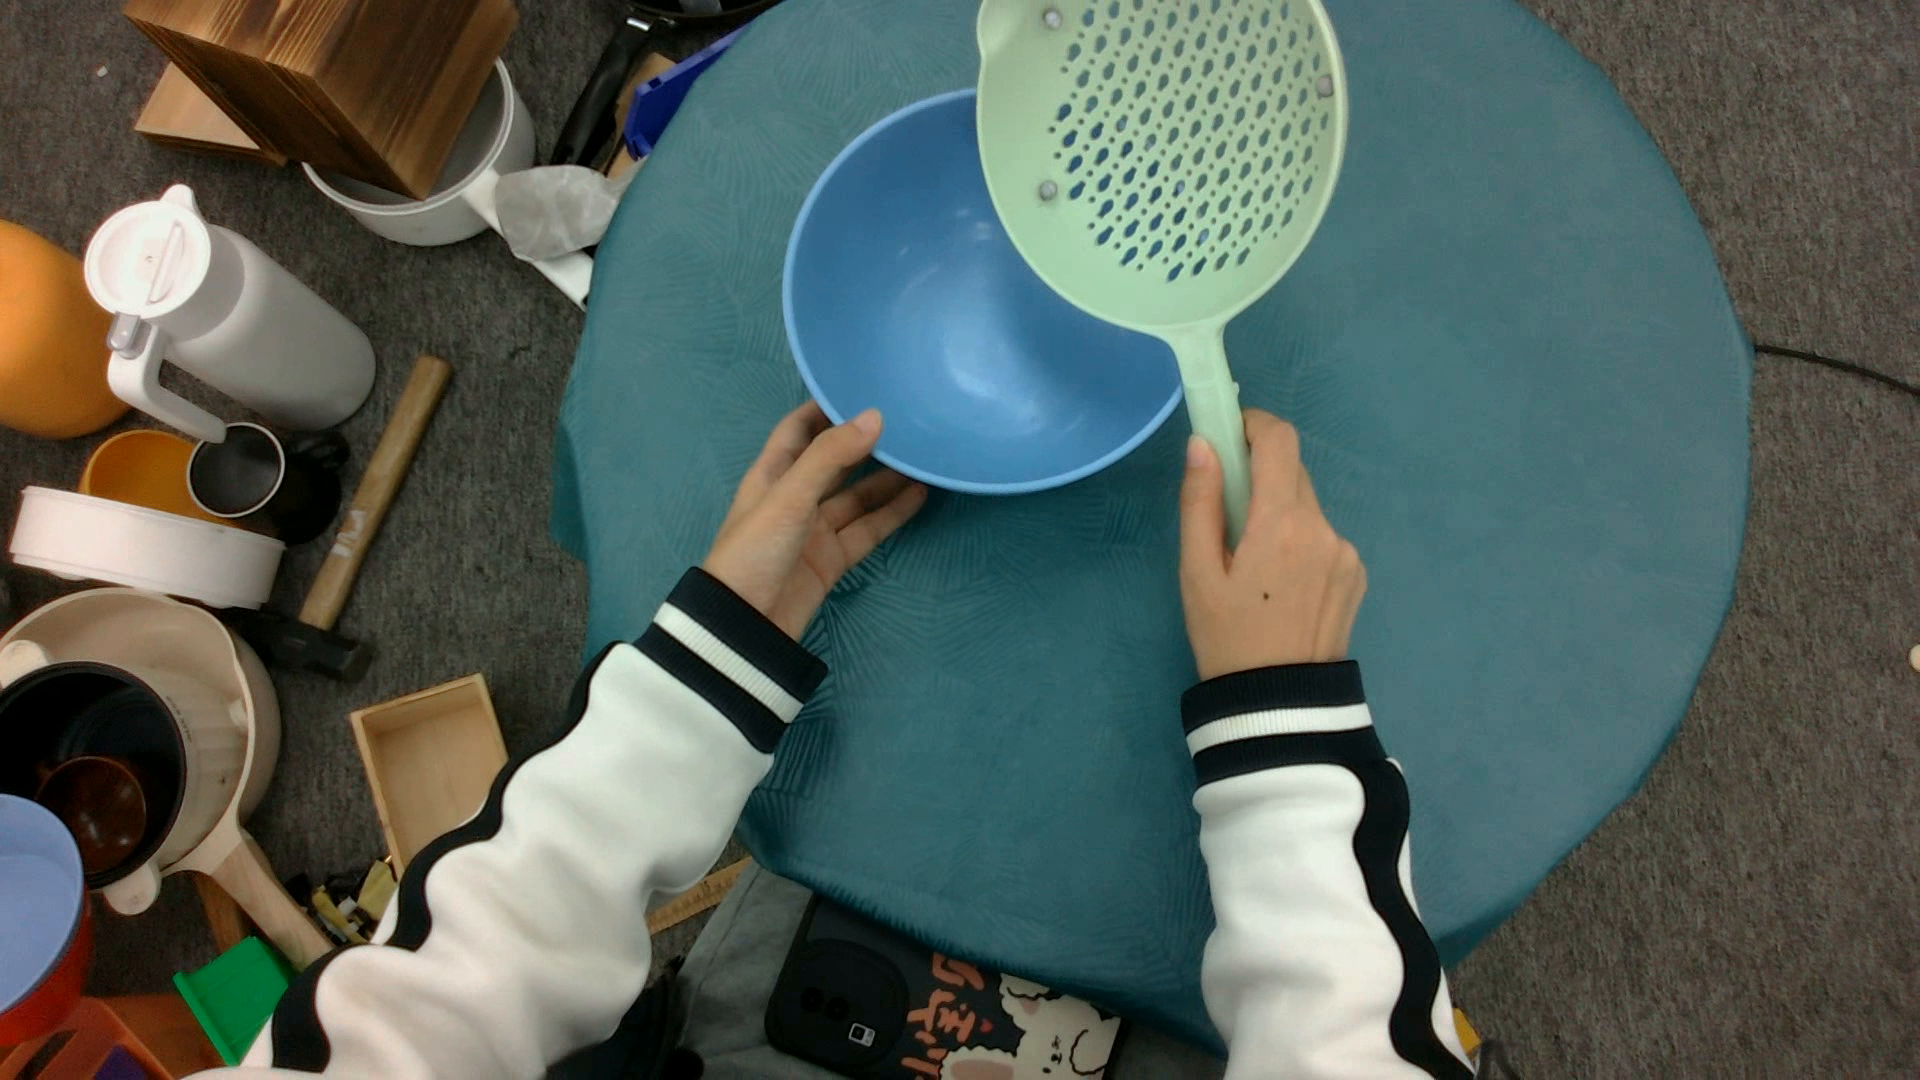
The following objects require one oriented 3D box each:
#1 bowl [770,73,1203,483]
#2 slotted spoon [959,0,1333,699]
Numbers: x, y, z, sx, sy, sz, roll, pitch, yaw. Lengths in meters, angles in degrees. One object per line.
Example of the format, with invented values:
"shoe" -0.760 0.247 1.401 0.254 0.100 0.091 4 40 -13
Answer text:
"bowl" 0.013 -0.113 0.665 0.196 0.095 0.197 0 78 0
"slotted spoon" 0.104 -0.089 0.607 0.169 0.075 0.358 -4 101 39
